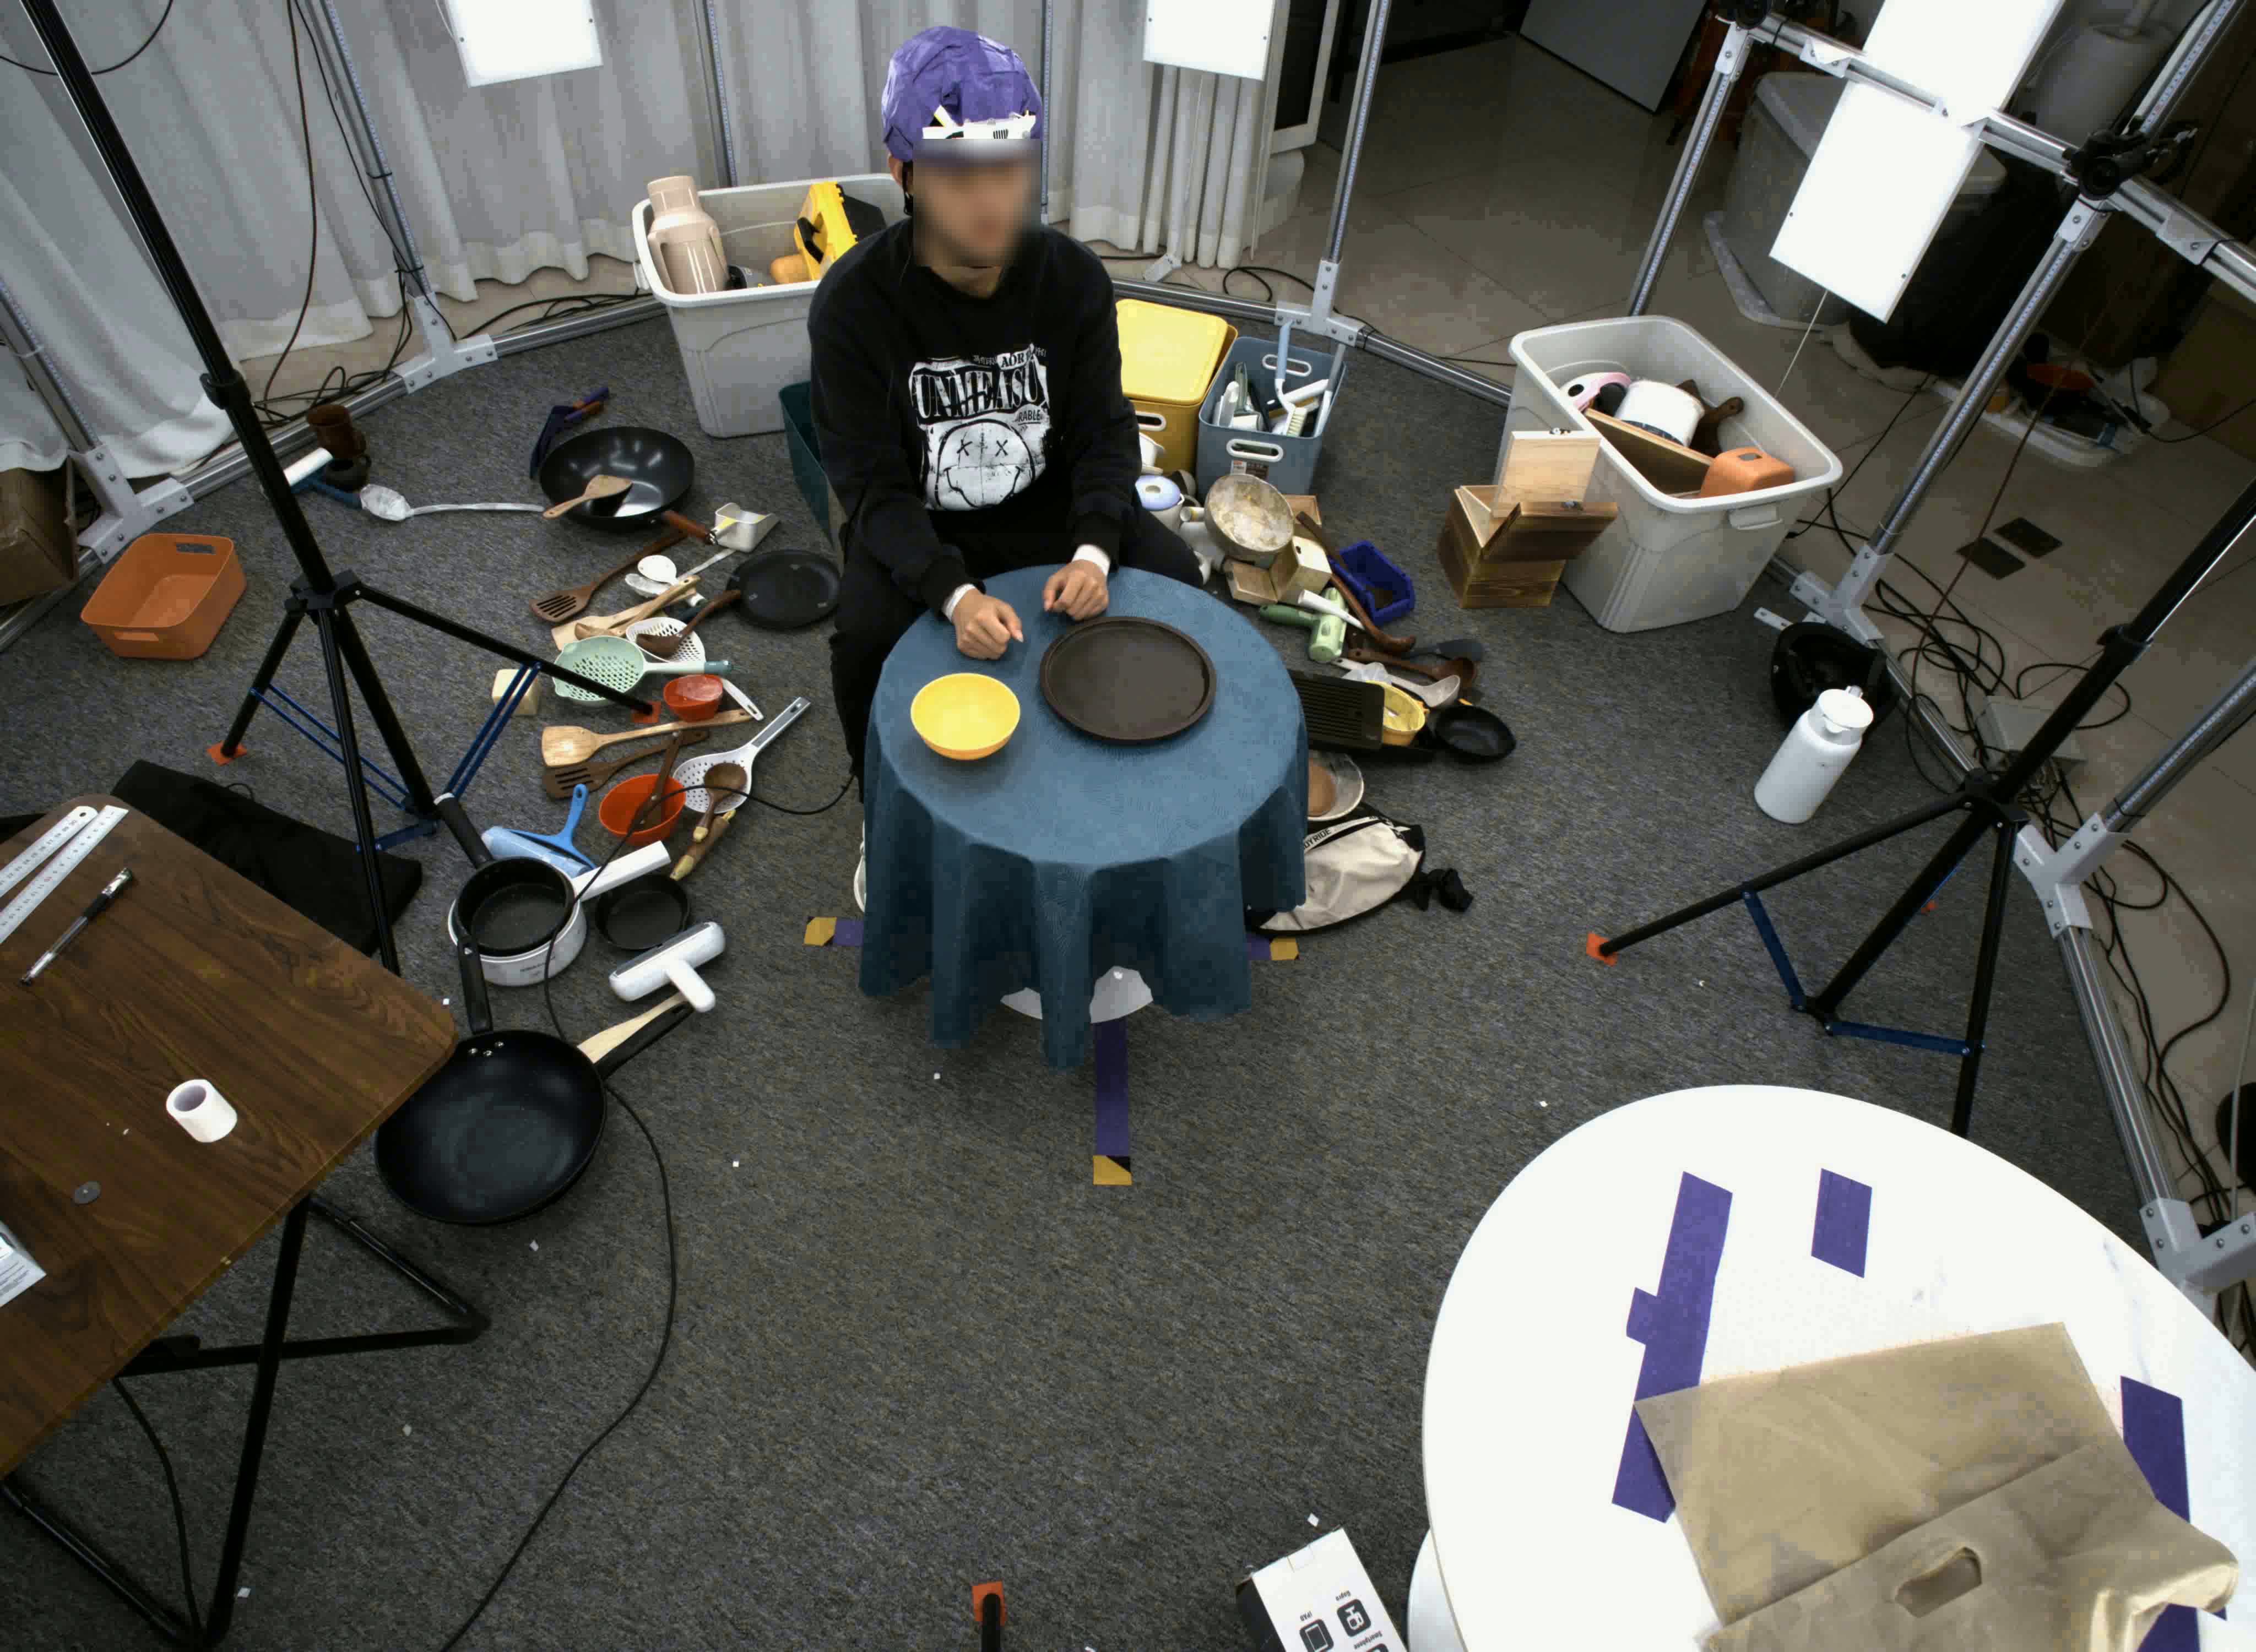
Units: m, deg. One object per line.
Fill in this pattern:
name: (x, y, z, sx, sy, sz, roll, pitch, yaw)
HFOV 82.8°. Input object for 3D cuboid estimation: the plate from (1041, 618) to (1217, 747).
plate: (0.001, -0.208, 1.851, 0.254, 0.028, 0.261, 1, 49, -1)

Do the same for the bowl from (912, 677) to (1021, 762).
bowl: (-0.219, -0.133, 1.749, 0.145, 0.058, 0.149, 3, 47, -3)
